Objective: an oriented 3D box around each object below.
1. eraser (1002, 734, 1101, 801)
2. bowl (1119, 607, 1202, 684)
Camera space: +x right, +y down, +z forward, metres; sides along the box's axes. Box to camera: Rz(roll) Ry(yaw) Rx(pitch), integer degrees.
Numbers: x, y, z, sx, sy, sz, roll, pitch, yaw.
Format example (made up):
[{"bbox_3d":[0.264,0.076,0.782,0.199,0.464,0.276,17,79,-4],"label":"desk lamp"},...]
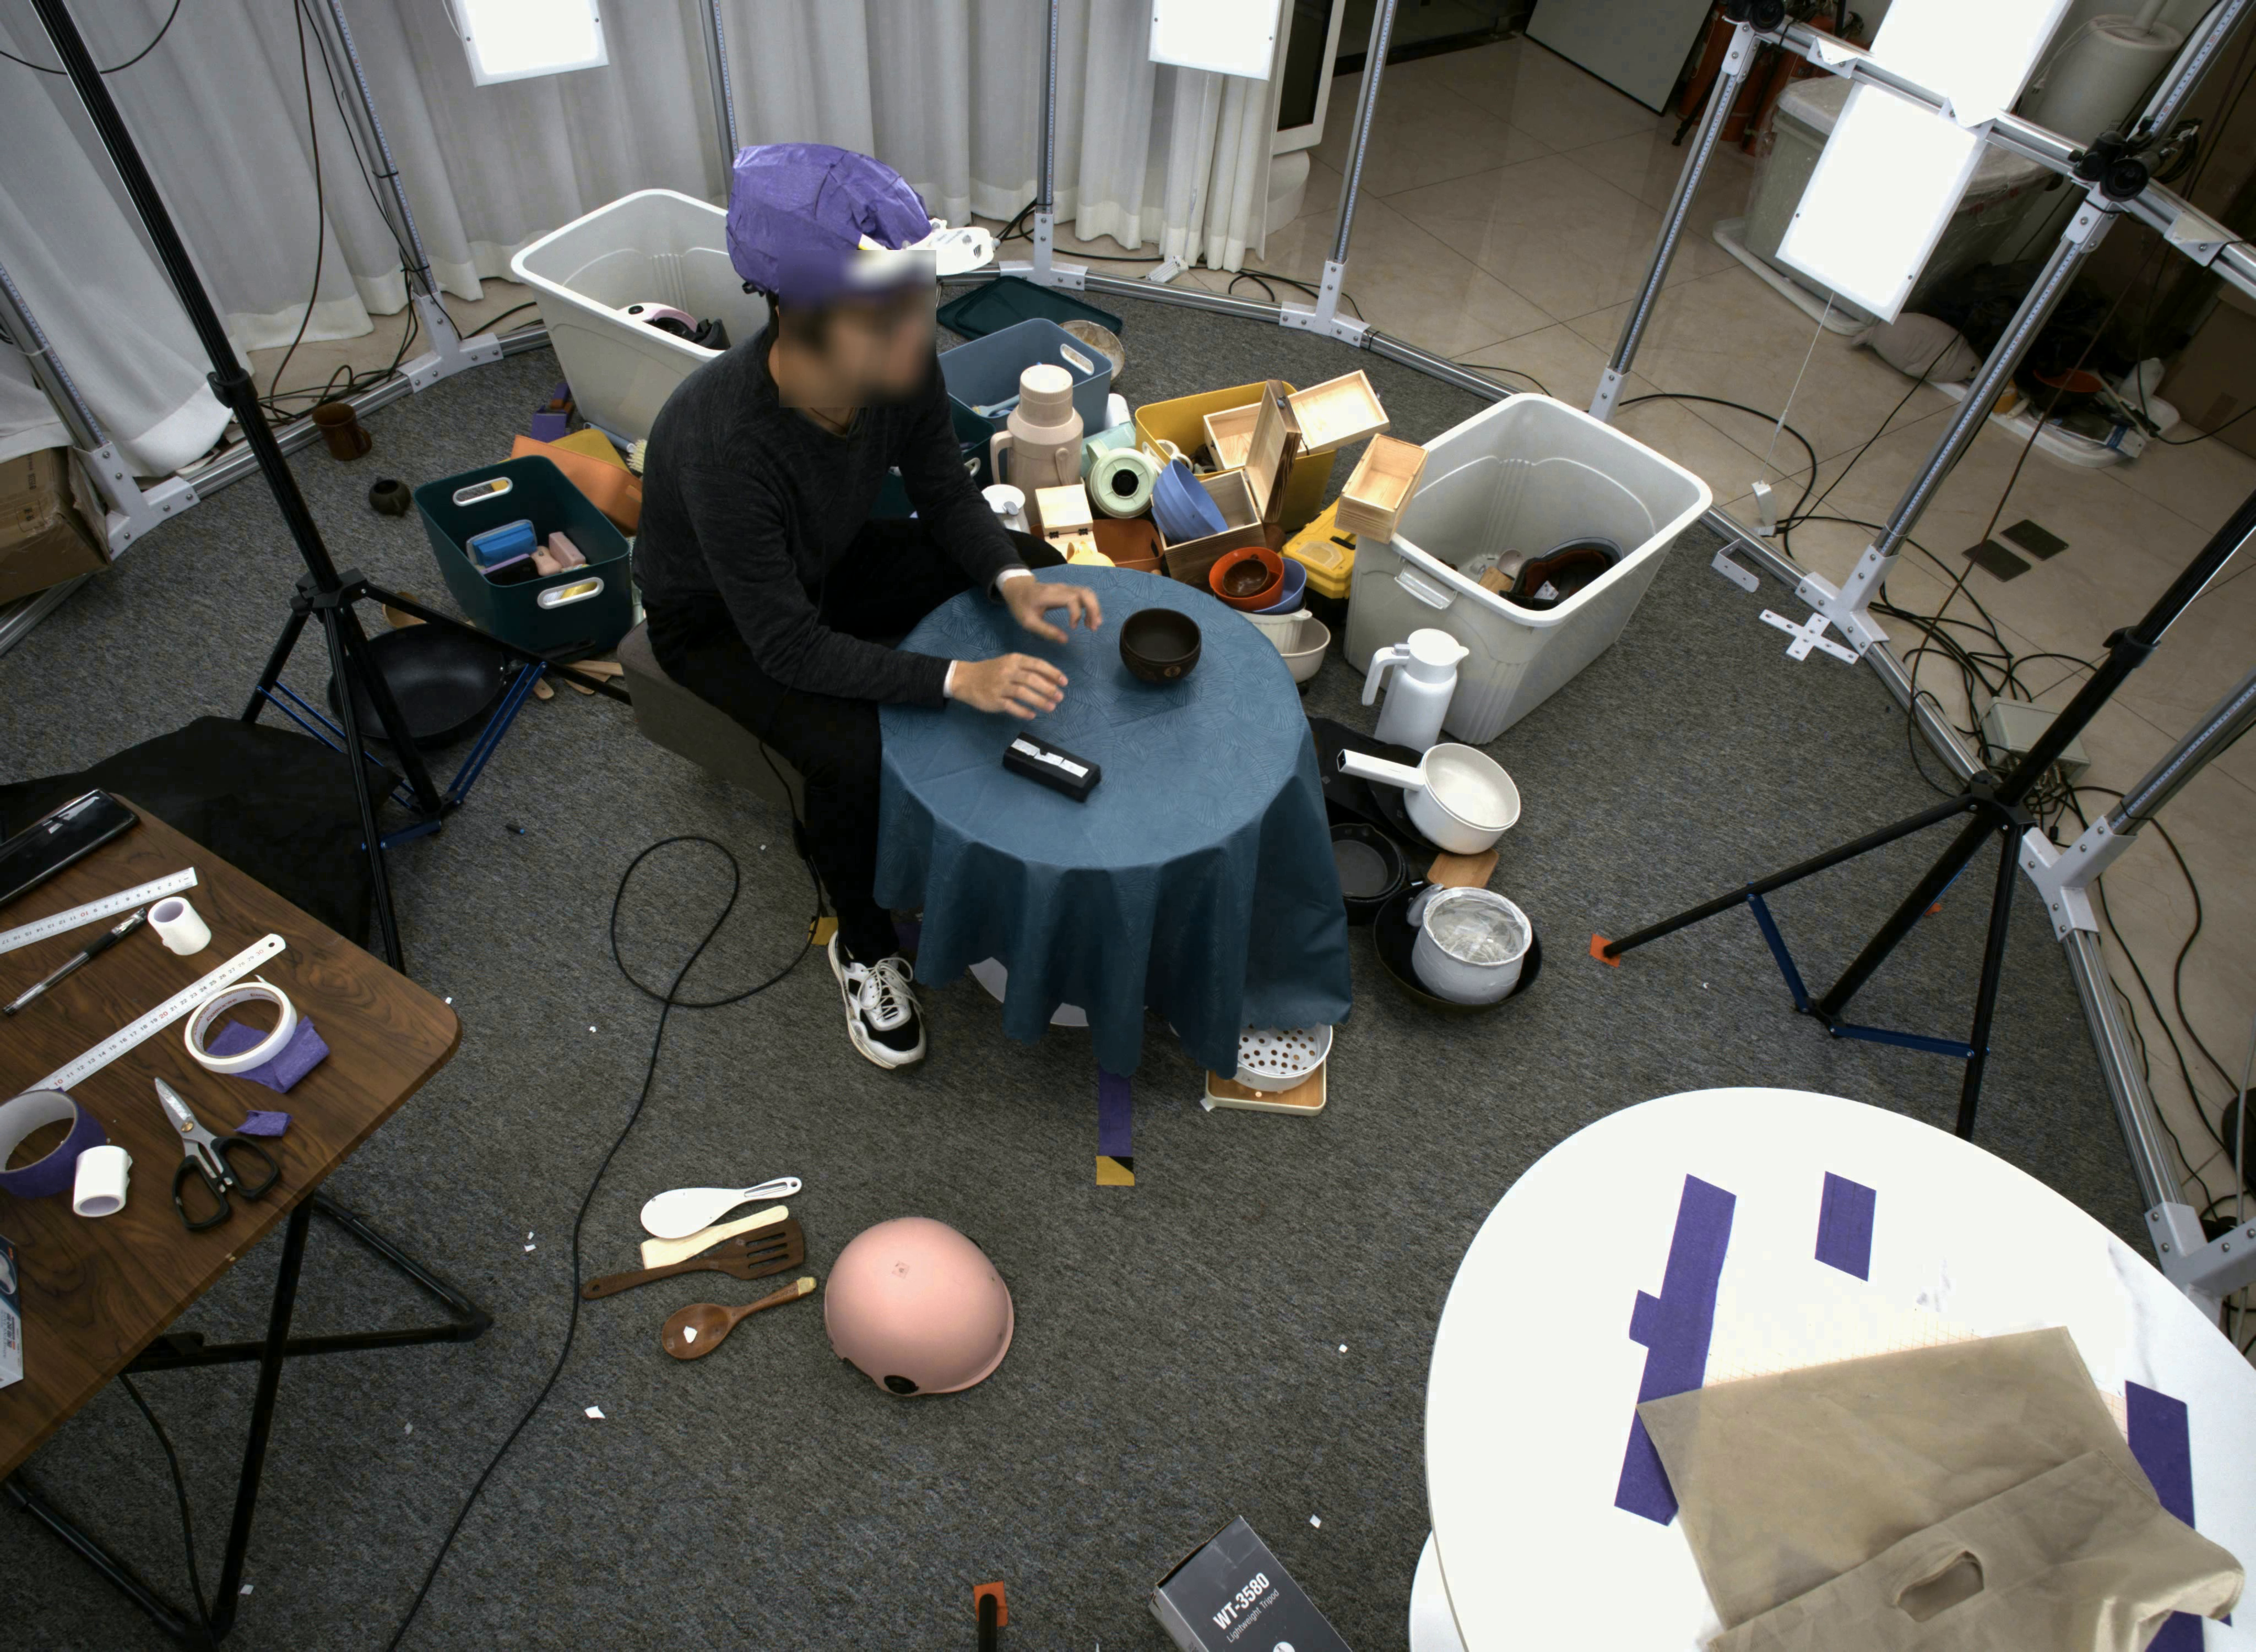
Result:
[{"bbox_3d":[-0.102,-0.079,1.713,0.126,0.030,0.054,23,49,16],"label":"eraser"},{"bbox_3d":[0.045,-0.251,1.845,0.118,0.068,0.121,2,51,-2],"label":"bowl"}]
